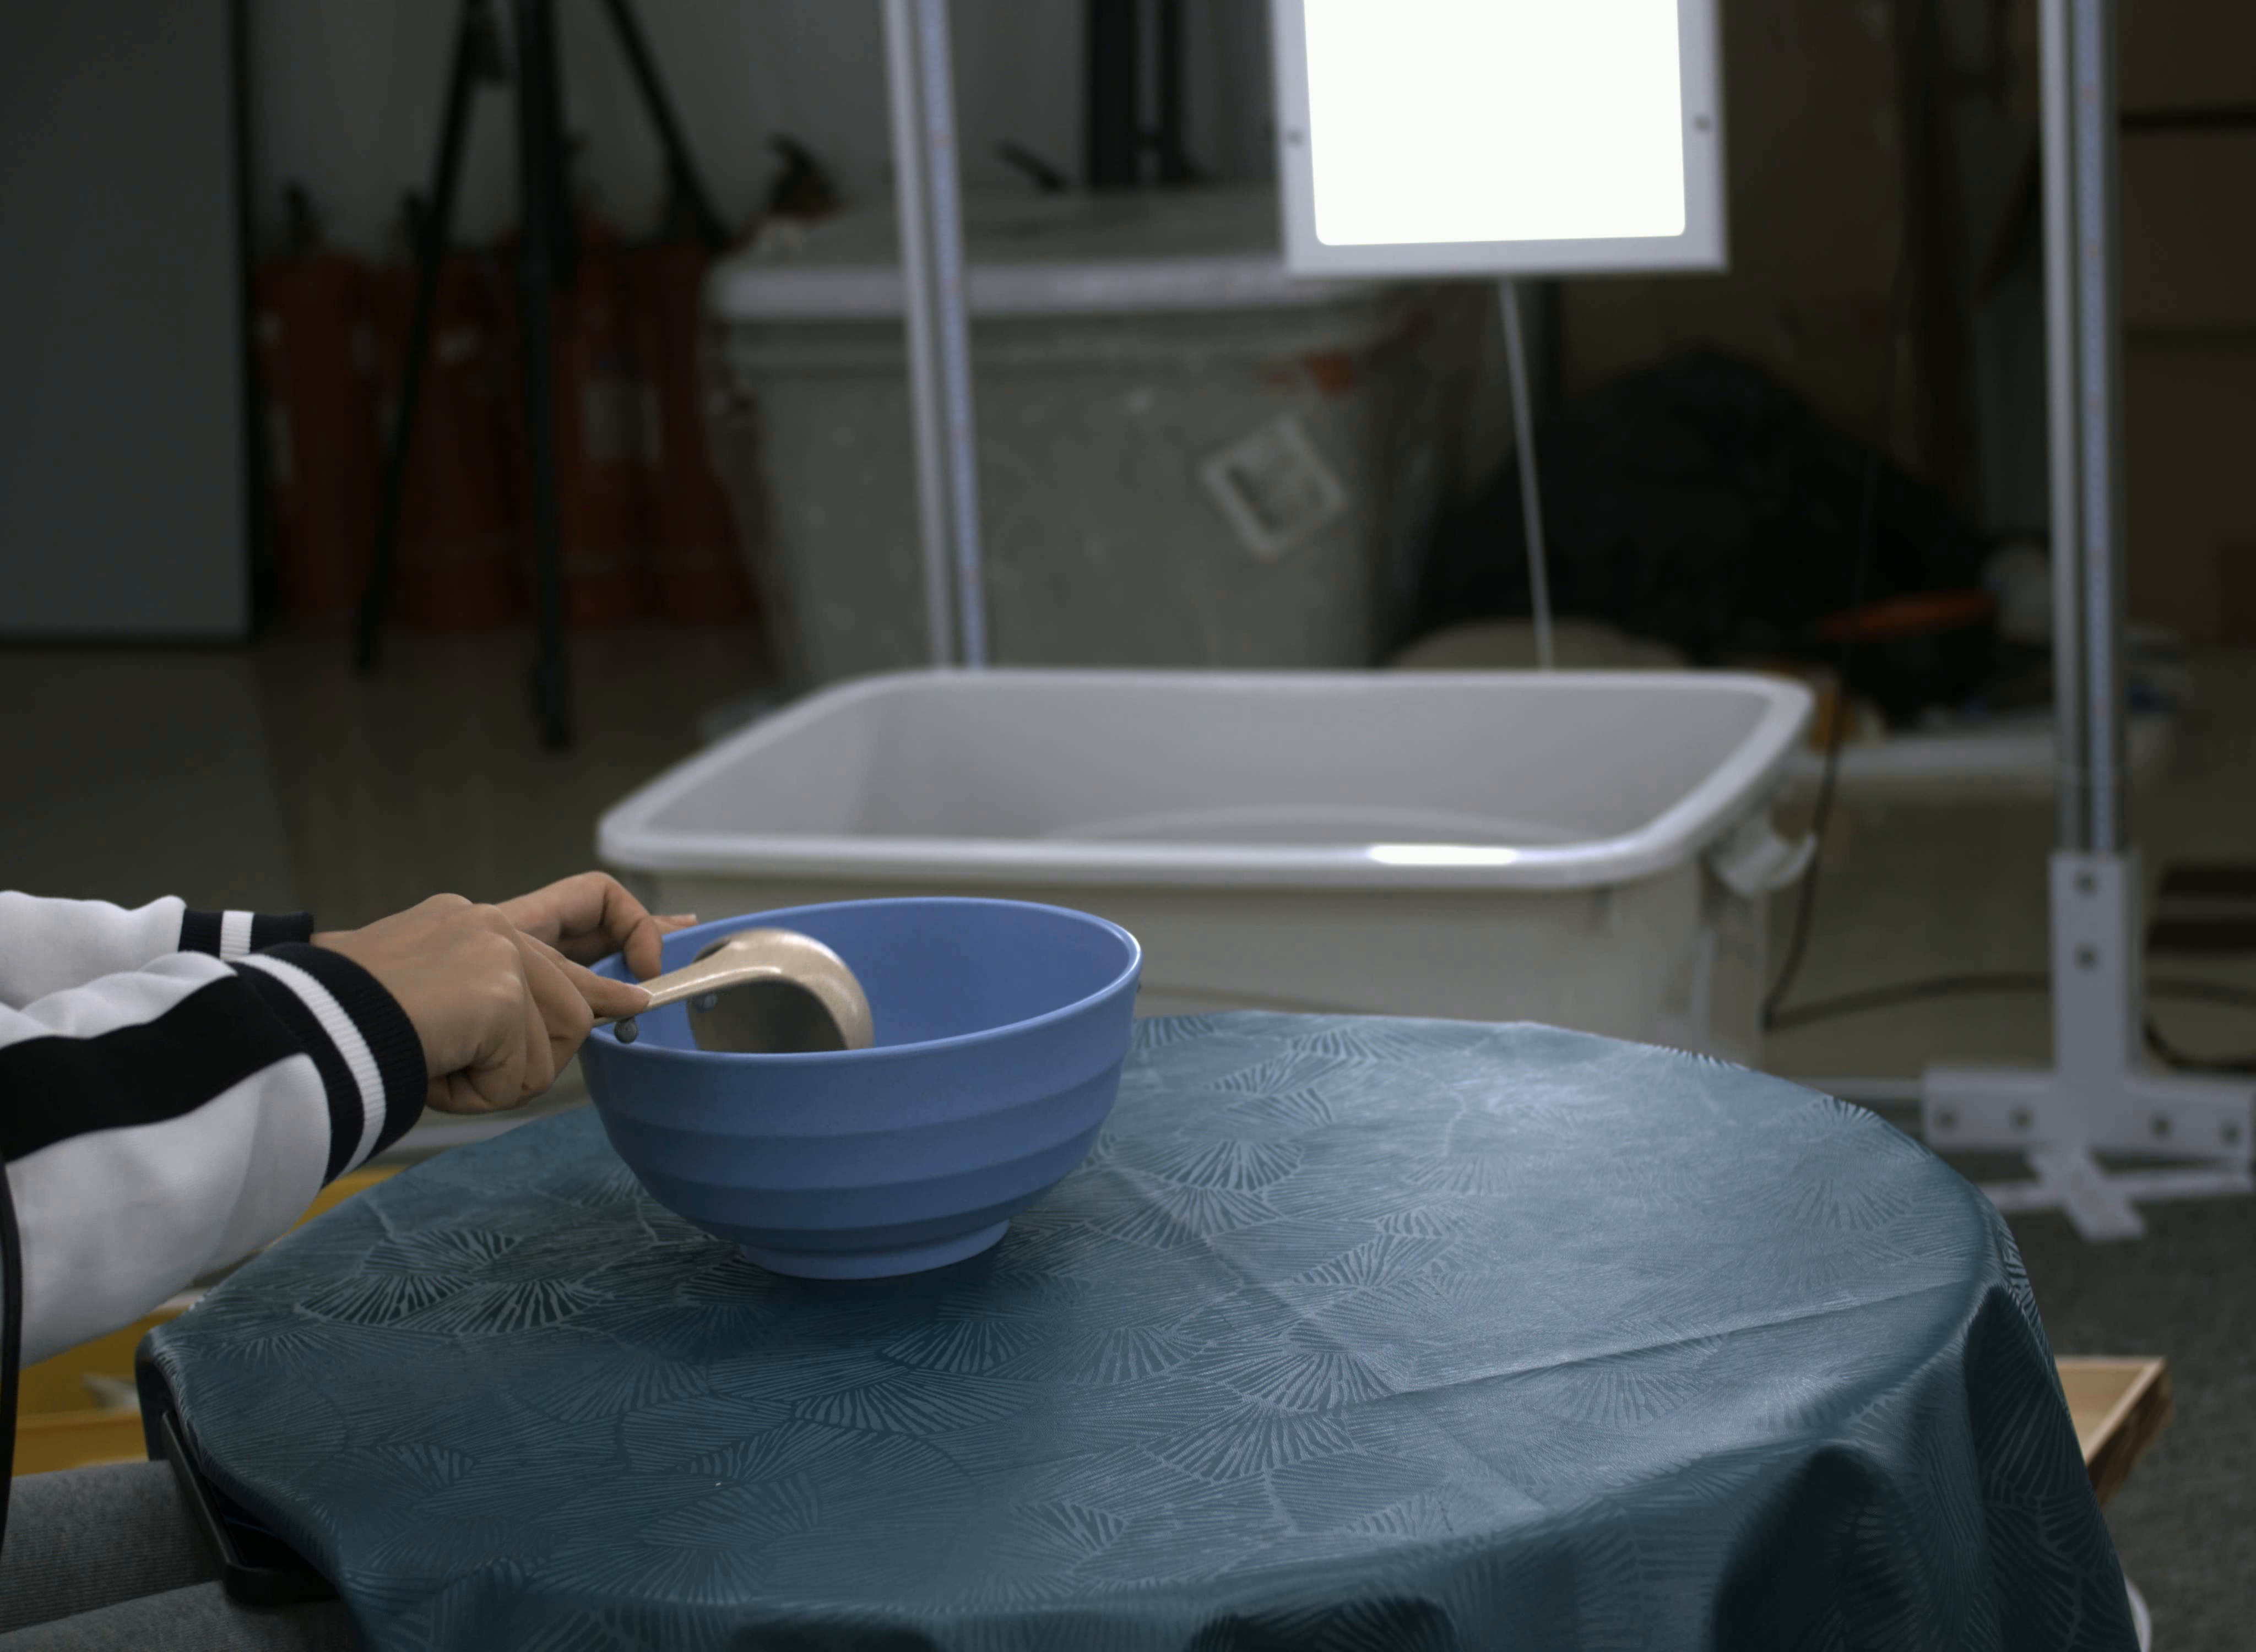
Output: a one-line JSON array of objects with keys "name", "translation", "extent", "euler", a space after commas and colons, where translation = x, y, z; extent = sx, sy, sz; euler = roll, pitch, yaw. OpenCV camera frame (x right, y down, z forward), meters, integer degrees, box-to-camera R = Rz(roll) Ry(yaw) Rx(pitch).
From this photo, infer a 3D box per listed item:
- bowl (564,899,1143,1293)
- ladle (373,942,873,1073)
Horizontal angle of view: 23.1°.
[{"name": "bowl", "translation": [-0.089, 0.098, 1.864], "extent": [0.196, 0.096, 0.196], "euler": [-5, 15, 0]}, {"name": "ladle", "translation": [-0.169, 0.080, 1.757], "extent": [0.073, 0.073, 0.248], "euler": [28, 17, 27]}]
